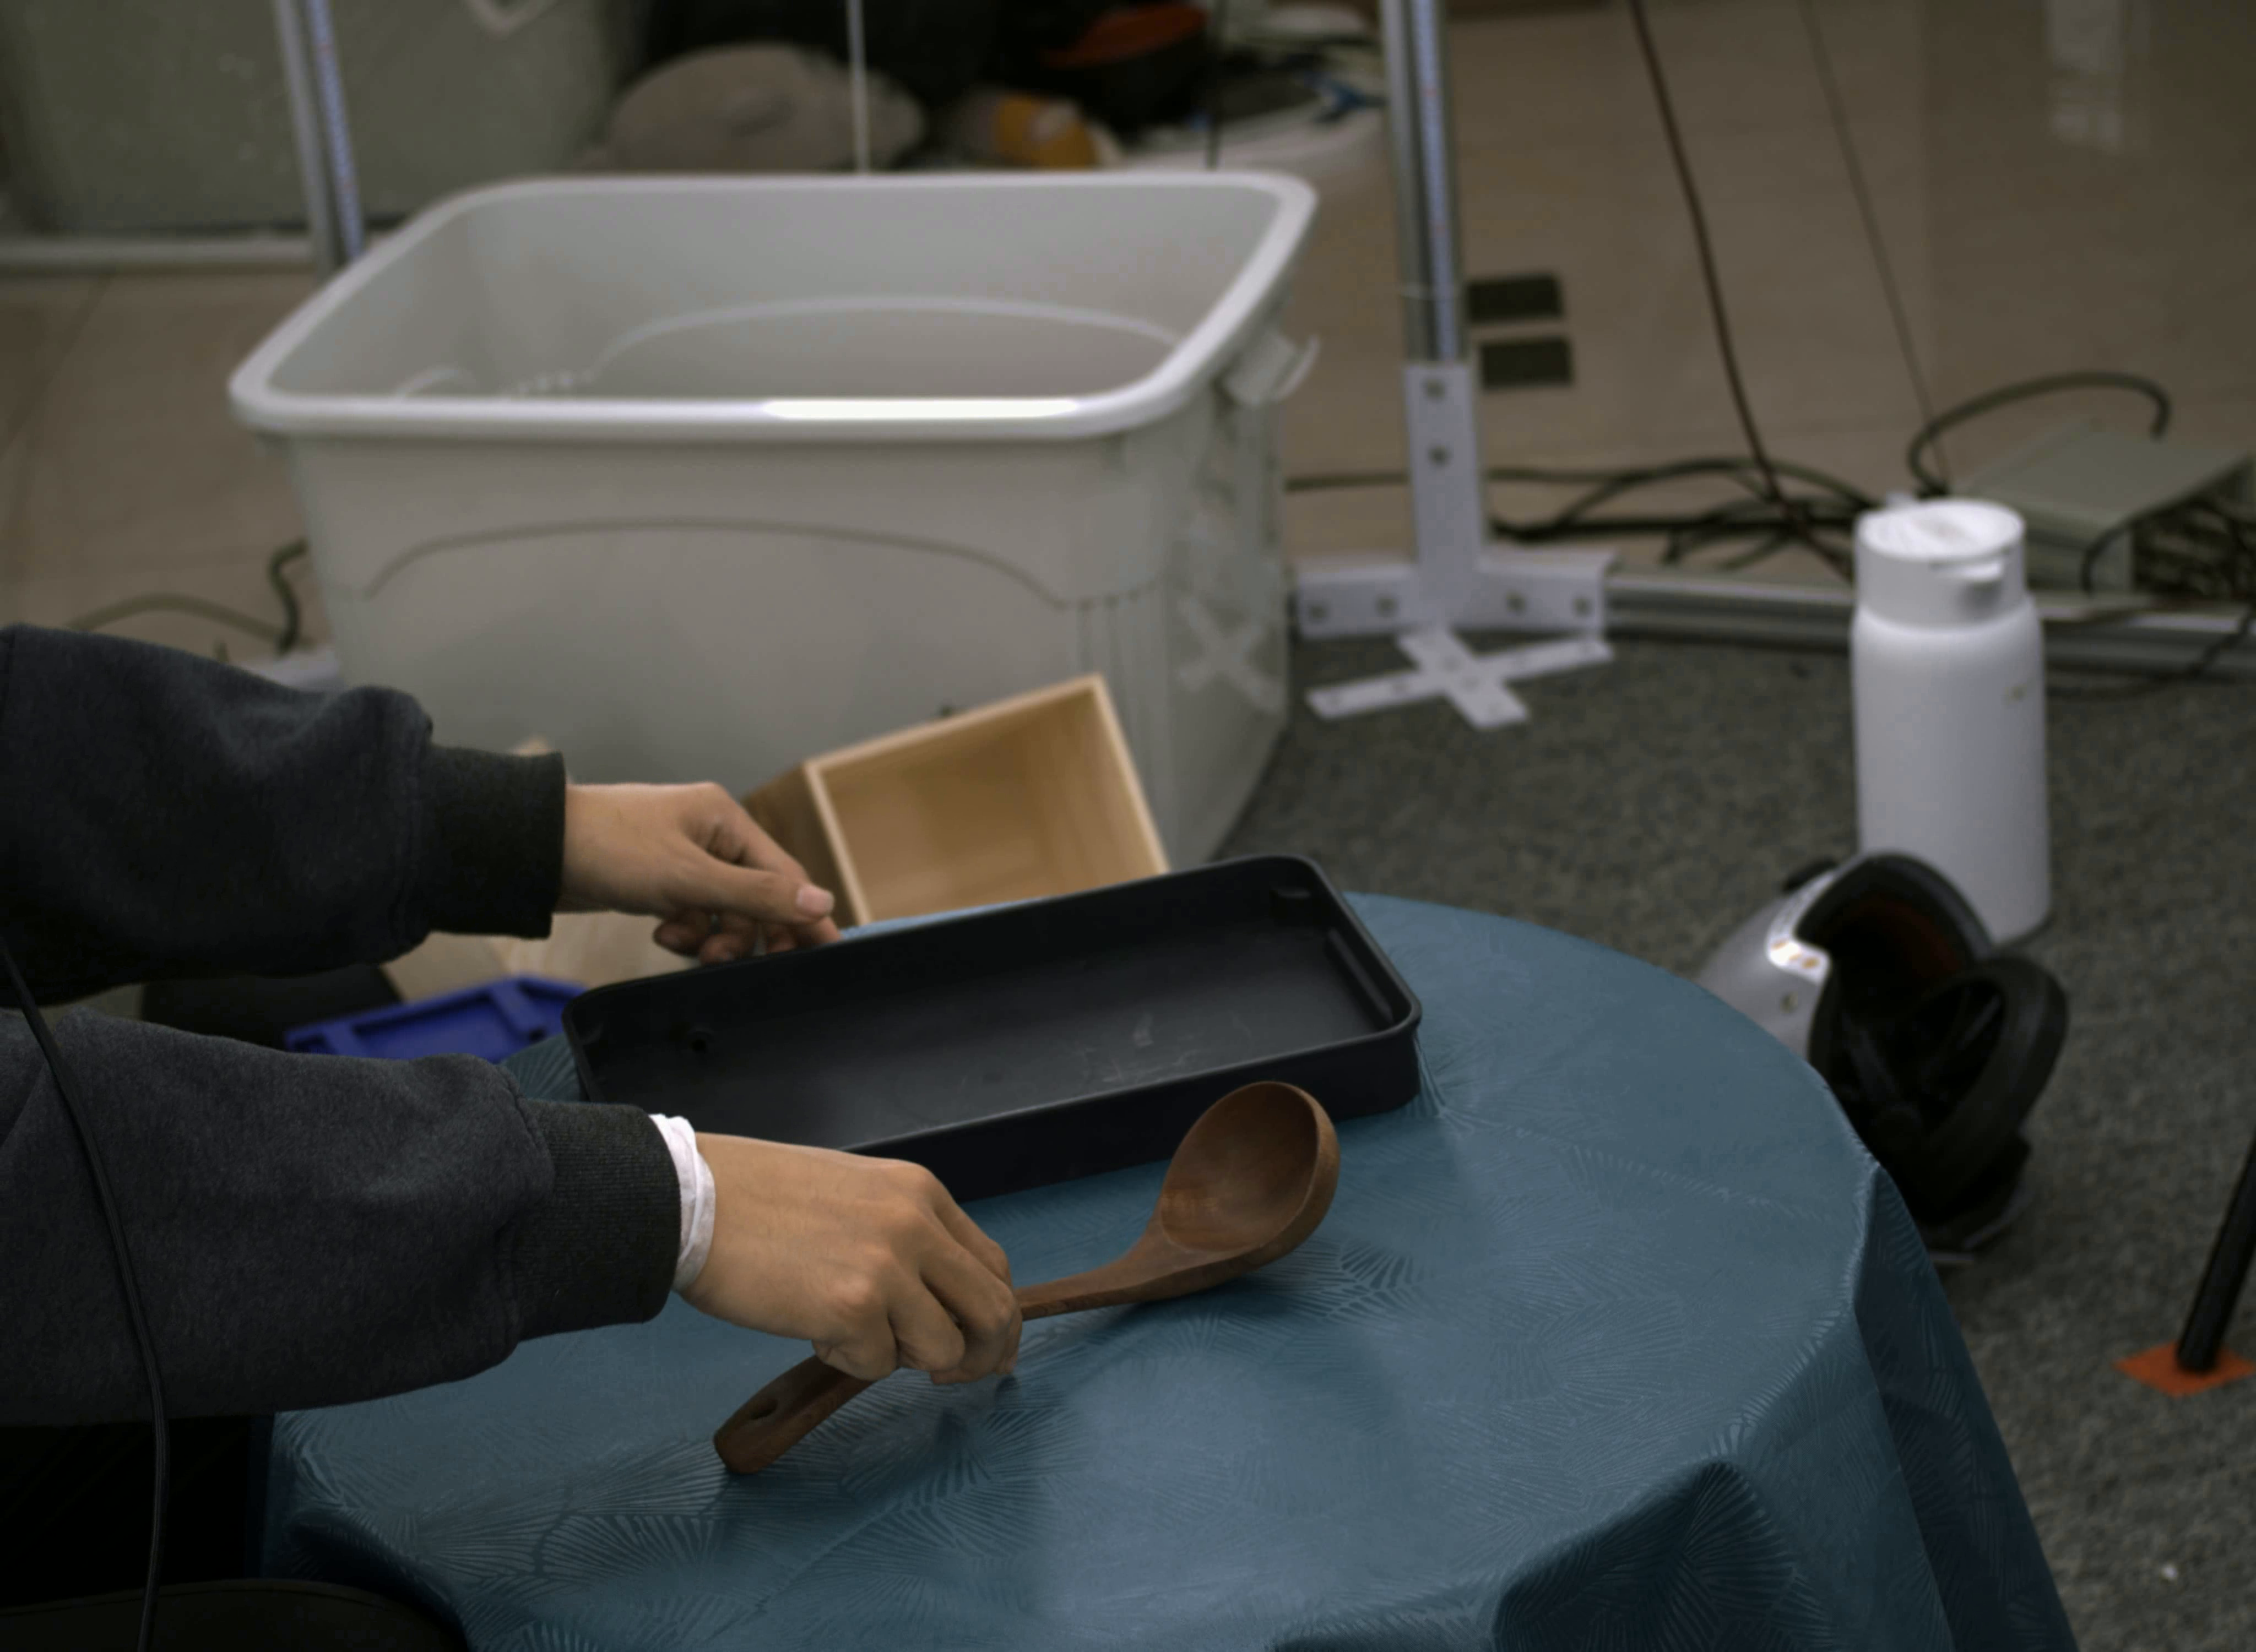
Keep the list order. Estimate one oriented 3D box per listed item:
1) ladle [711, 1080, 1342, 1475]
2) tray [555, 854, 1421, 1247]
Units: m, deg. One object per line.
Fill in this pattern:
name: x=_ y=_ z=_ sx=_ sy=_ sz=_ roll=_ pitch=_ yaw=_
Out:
ladle: x=-0.037 y=0.160 z=2.034 sx=0.259 sy=0.066 sz=0.075 roll=-19 pitch=29 yaw=-26
tray: x=-0.057 y=0.085 z=2.226 sx=0.317 sy=0.037 sz=0.182 roll=-10 pitch=25 yaw=-11
